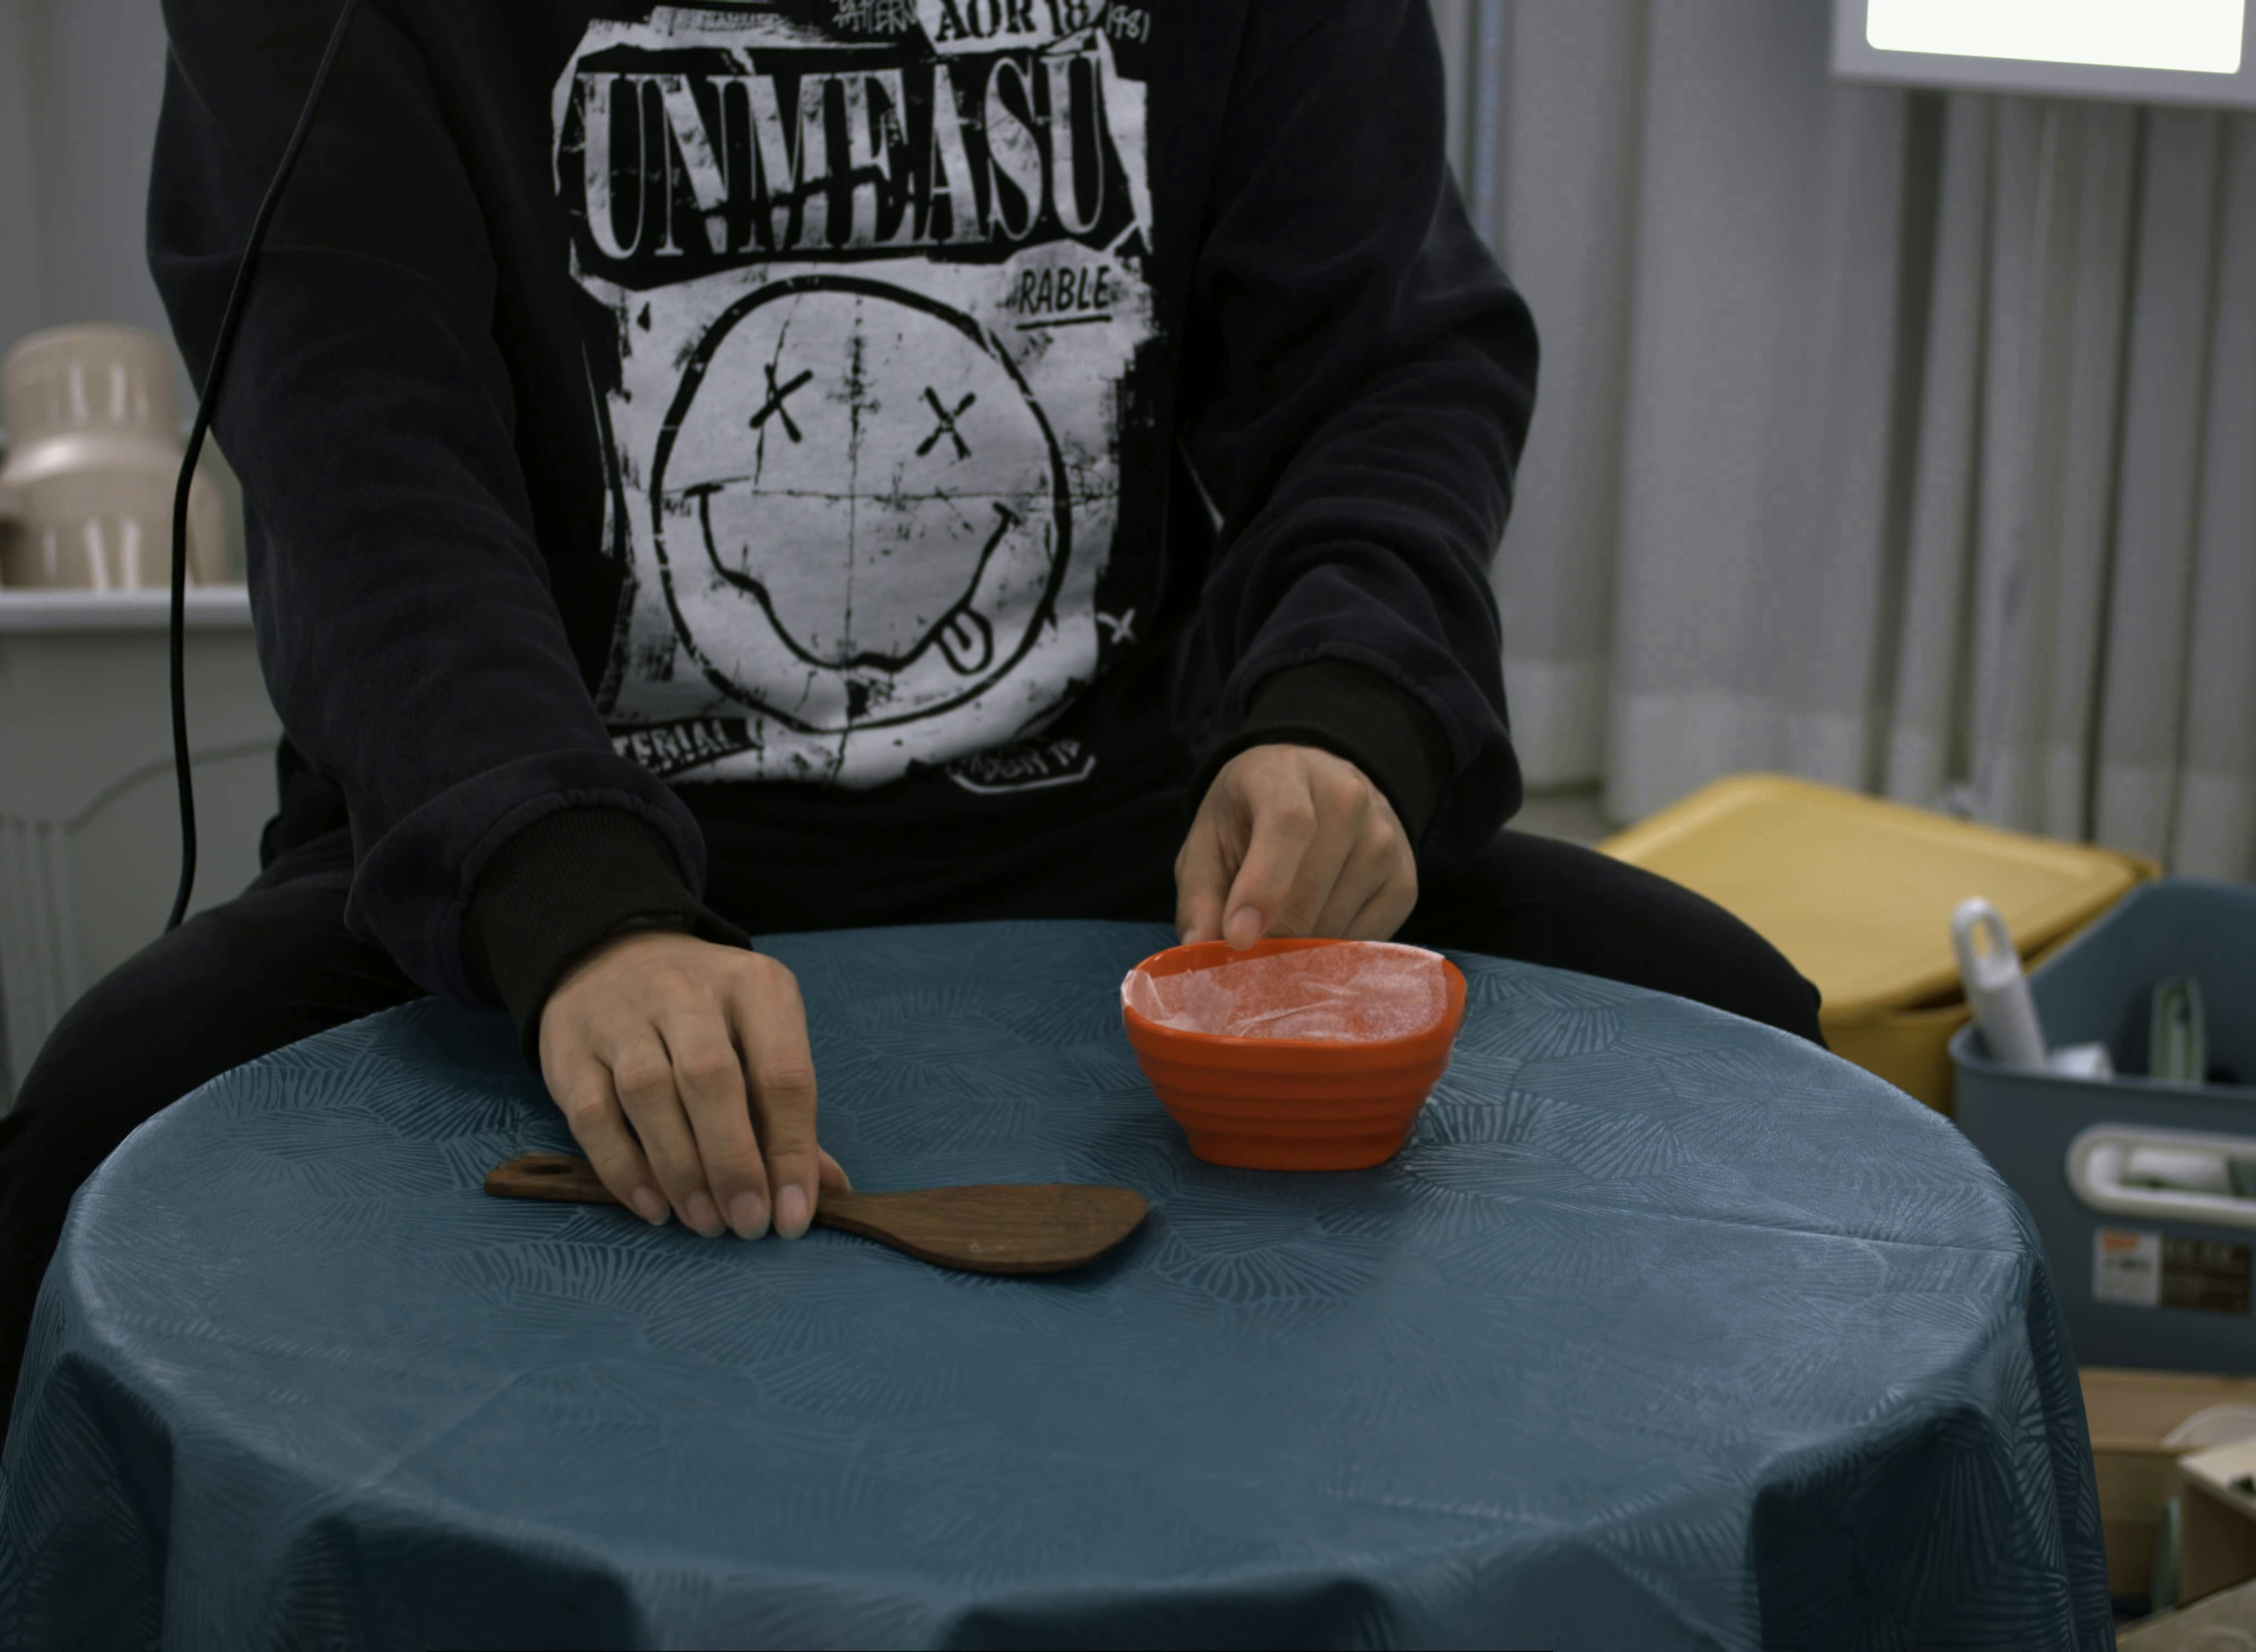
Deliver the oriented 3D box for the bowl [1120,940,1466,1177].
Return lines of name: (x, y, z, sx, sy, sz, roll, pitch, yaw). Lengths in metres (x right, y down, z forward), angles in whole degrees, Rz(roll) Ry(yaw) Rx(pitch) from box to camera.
bowl: (0.052, 0.076, 1.670, 0.118, 0.052, 0.118, 0, 17, 1)

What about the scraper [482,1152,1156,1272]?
scraper: (-0.097, 0.114, 1.601, 0.209, 0.011, 0.076, 5, 16, 16)
